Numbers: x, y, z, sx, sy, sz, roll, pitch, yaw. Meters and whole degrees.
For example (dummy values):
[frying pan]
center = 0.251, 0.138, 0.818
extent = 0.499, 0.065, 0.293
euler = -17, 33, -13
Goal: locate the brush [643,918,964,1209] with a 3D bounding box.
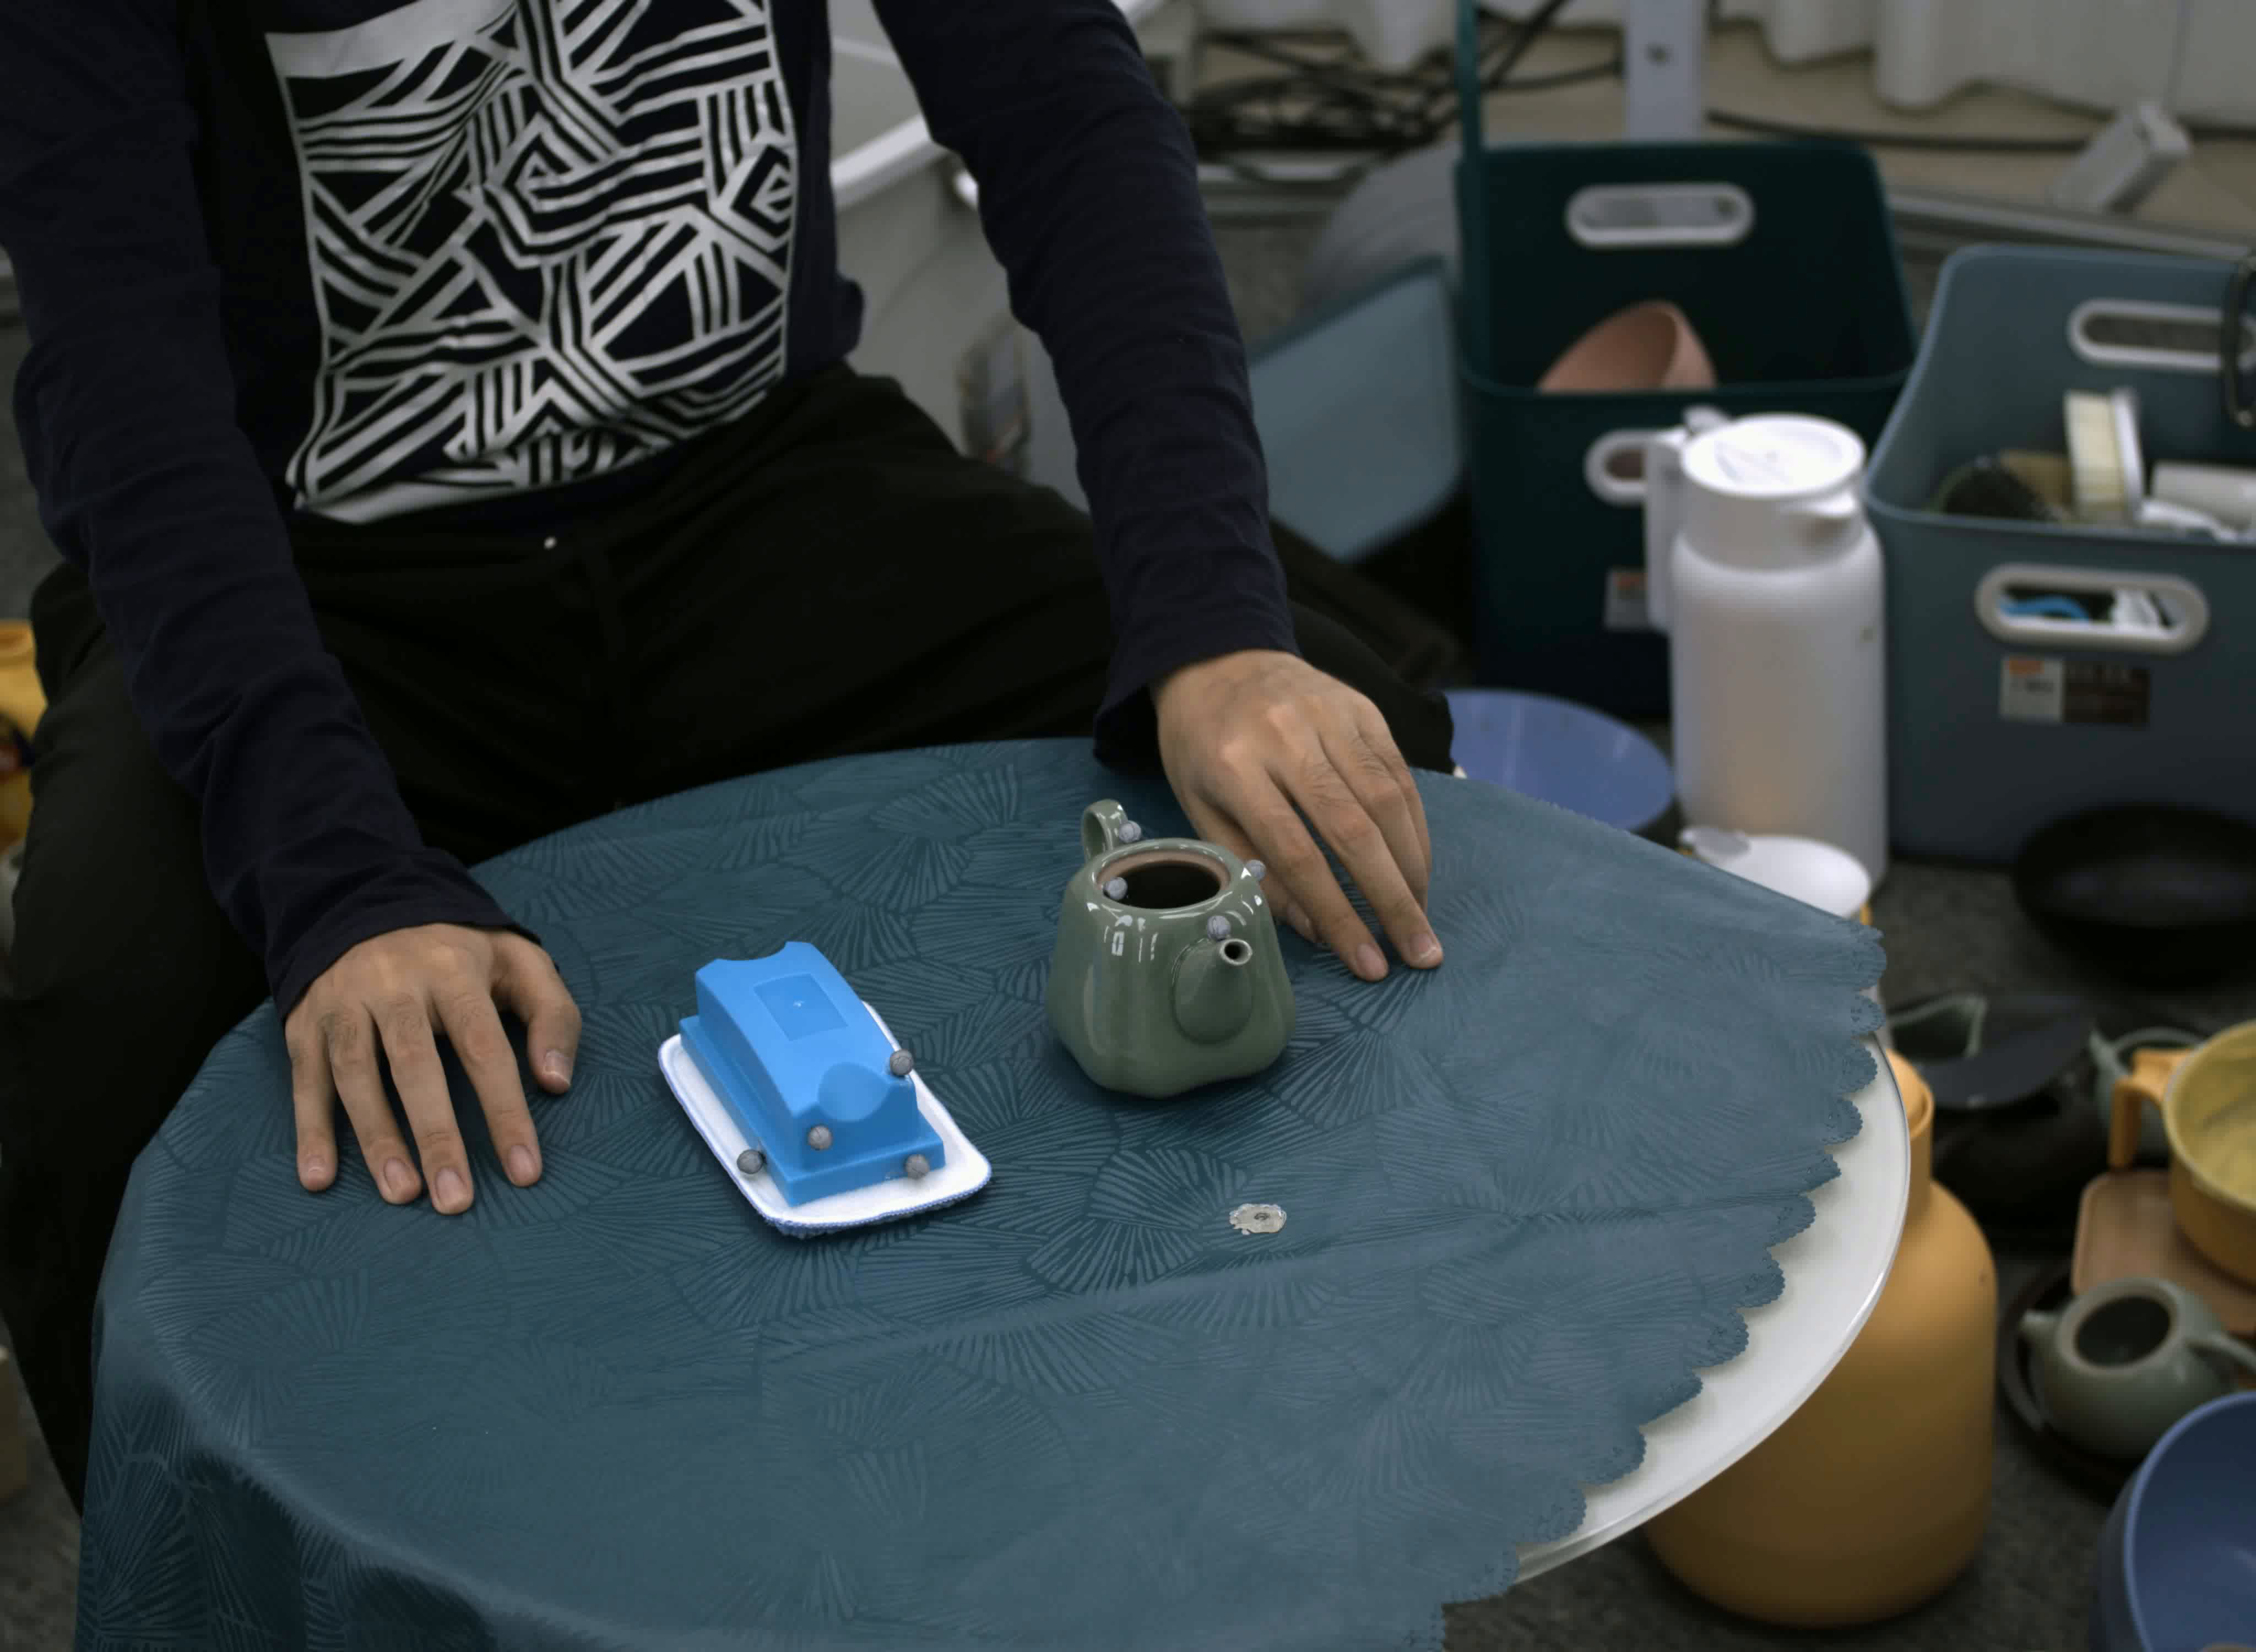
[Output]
[brush]
center = -0.109, 0.076, 1.893
extent = 0.084, 0.055, 0.145
euler = -9, 30, -18

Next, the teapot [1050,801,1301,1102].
[teapot]
center = 0.015, 0.047, 1.925
extent = 0.080, 0.074, 0.133
euler = -13, 27, -19
